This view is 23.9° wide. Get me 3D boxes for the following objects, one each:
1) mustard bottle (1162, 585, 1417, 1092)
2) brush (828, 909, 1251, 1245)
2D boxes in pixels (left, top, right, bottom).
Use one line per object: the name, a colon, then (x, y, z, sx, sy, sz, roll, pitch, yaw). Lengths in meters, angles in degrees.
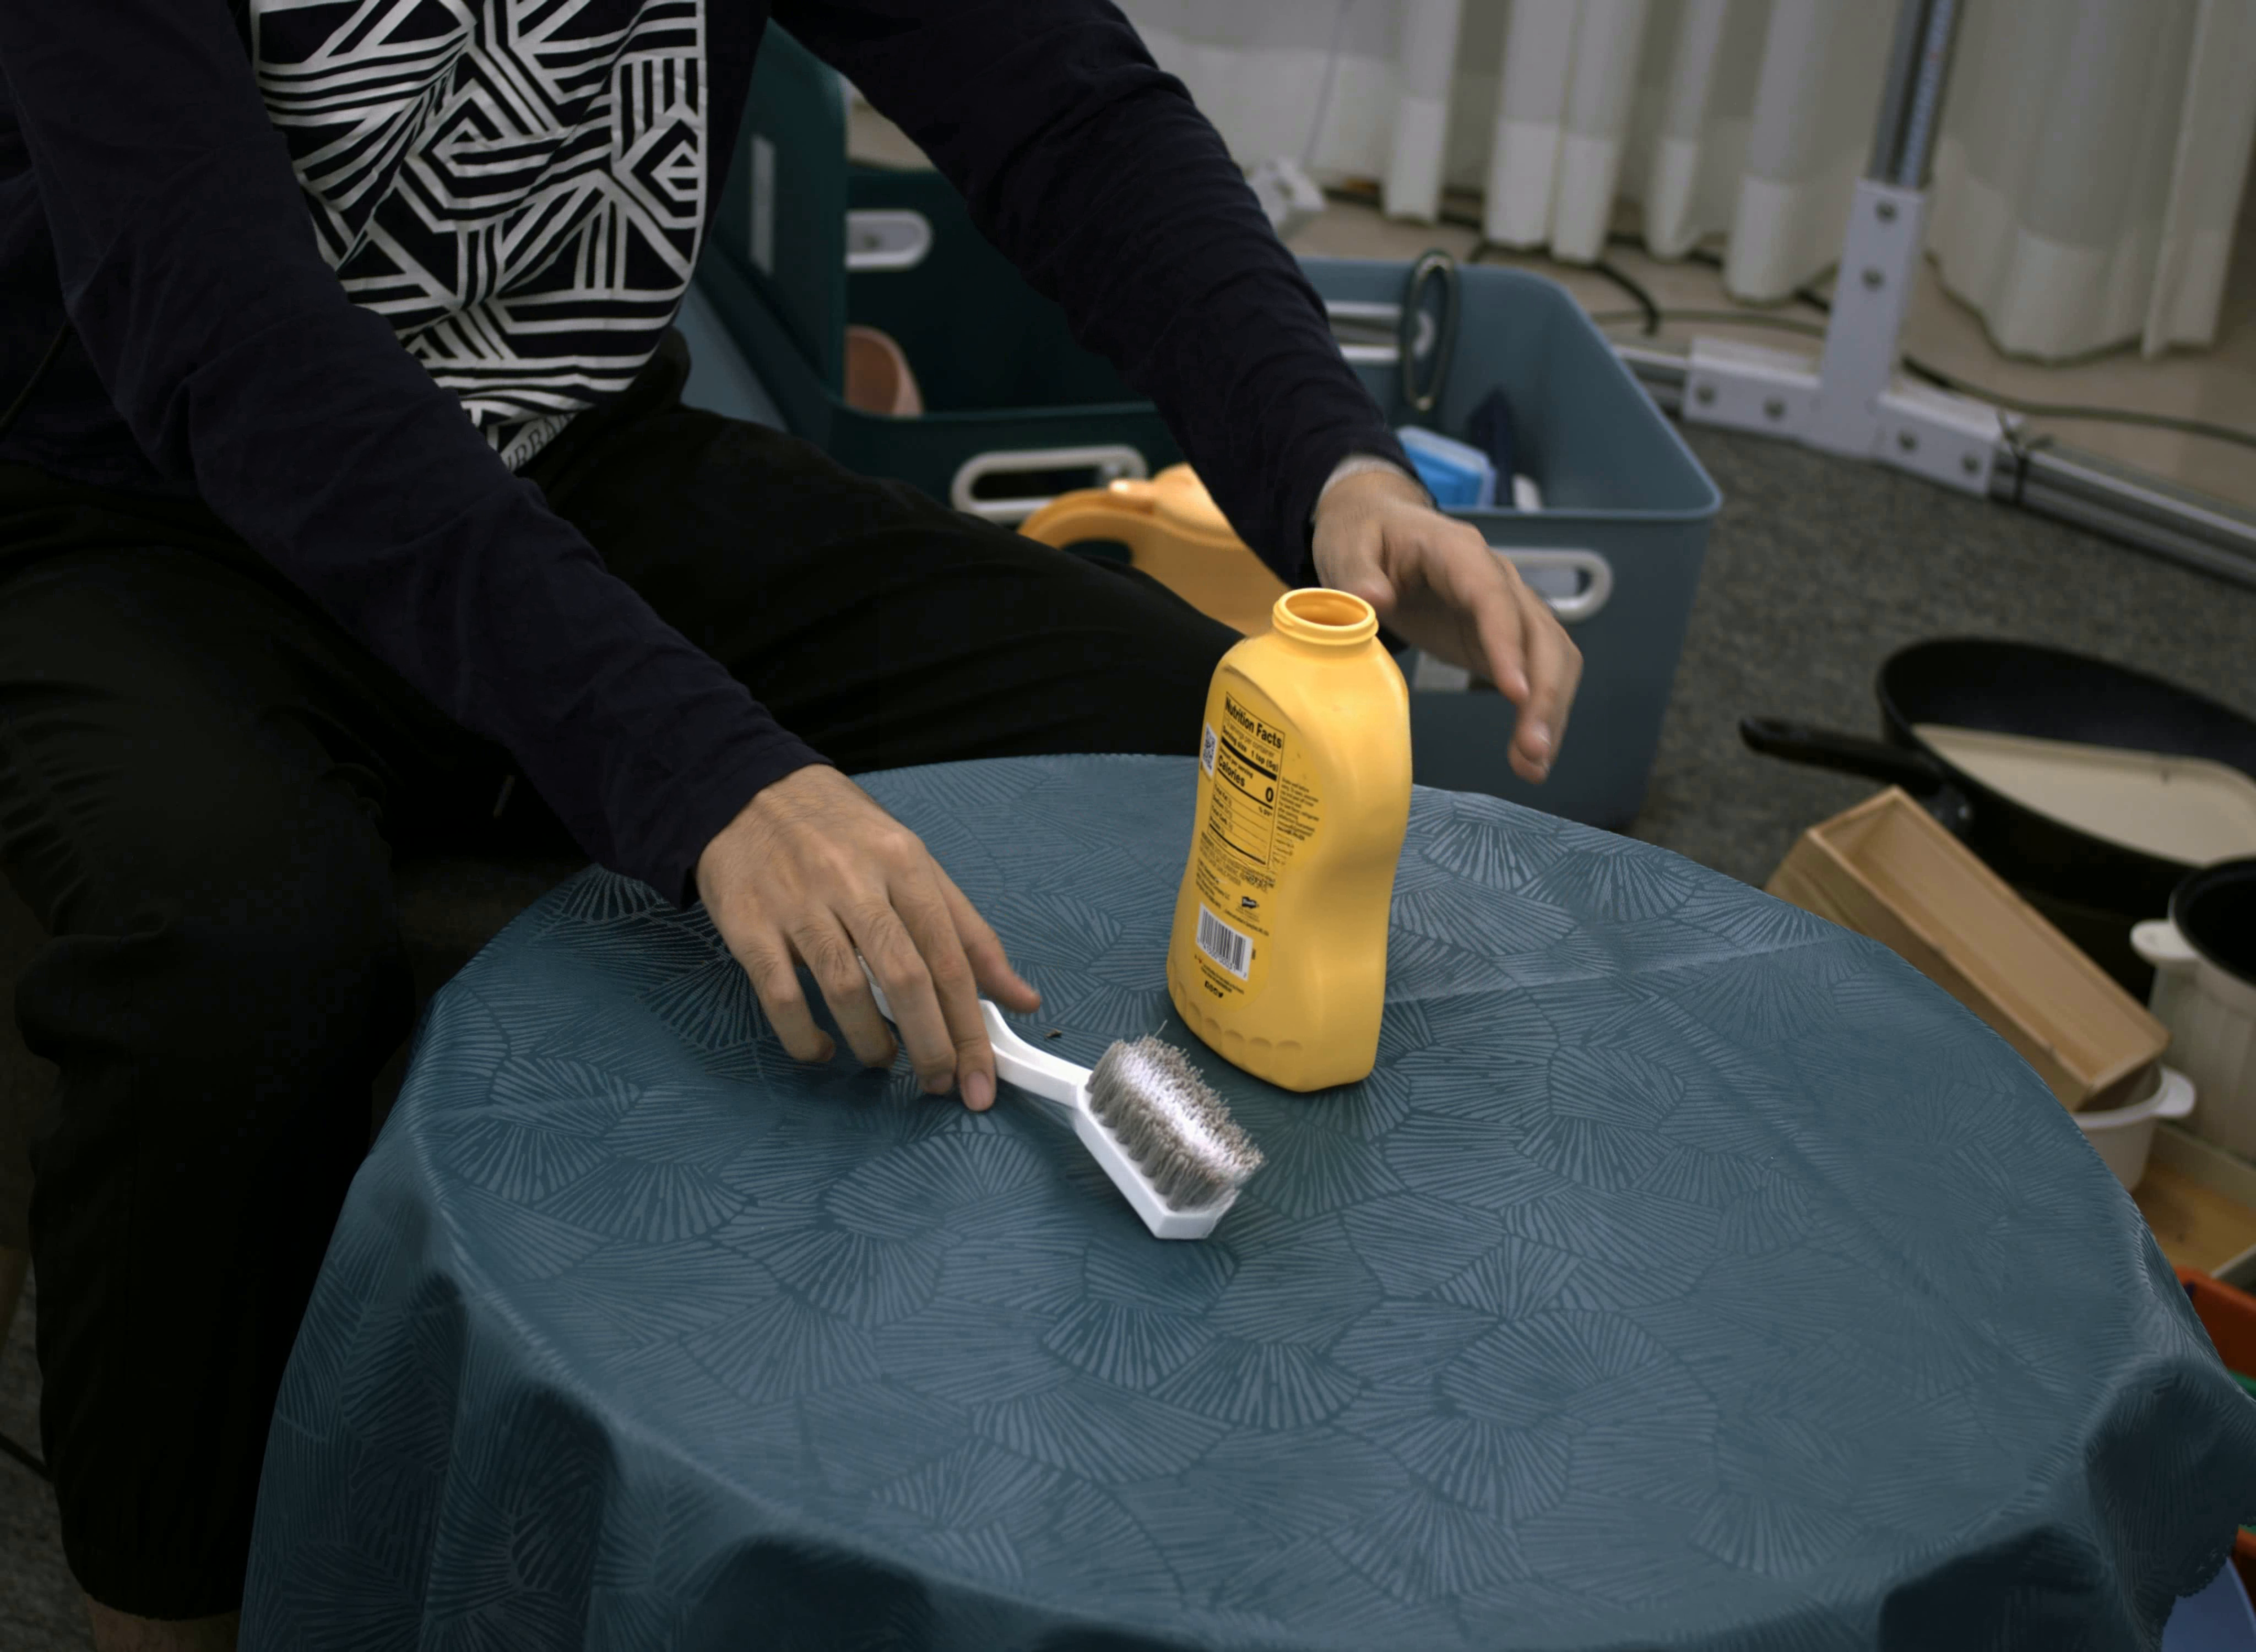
mustard bottle: (0.059, -0.001, 1.876, 0.059, 0.171, 0.099, -10, 29, -36)
brush: (-0.036, 0.070, 1.852, 0.034, 0.050, 0.246, -15, 34, -29)
